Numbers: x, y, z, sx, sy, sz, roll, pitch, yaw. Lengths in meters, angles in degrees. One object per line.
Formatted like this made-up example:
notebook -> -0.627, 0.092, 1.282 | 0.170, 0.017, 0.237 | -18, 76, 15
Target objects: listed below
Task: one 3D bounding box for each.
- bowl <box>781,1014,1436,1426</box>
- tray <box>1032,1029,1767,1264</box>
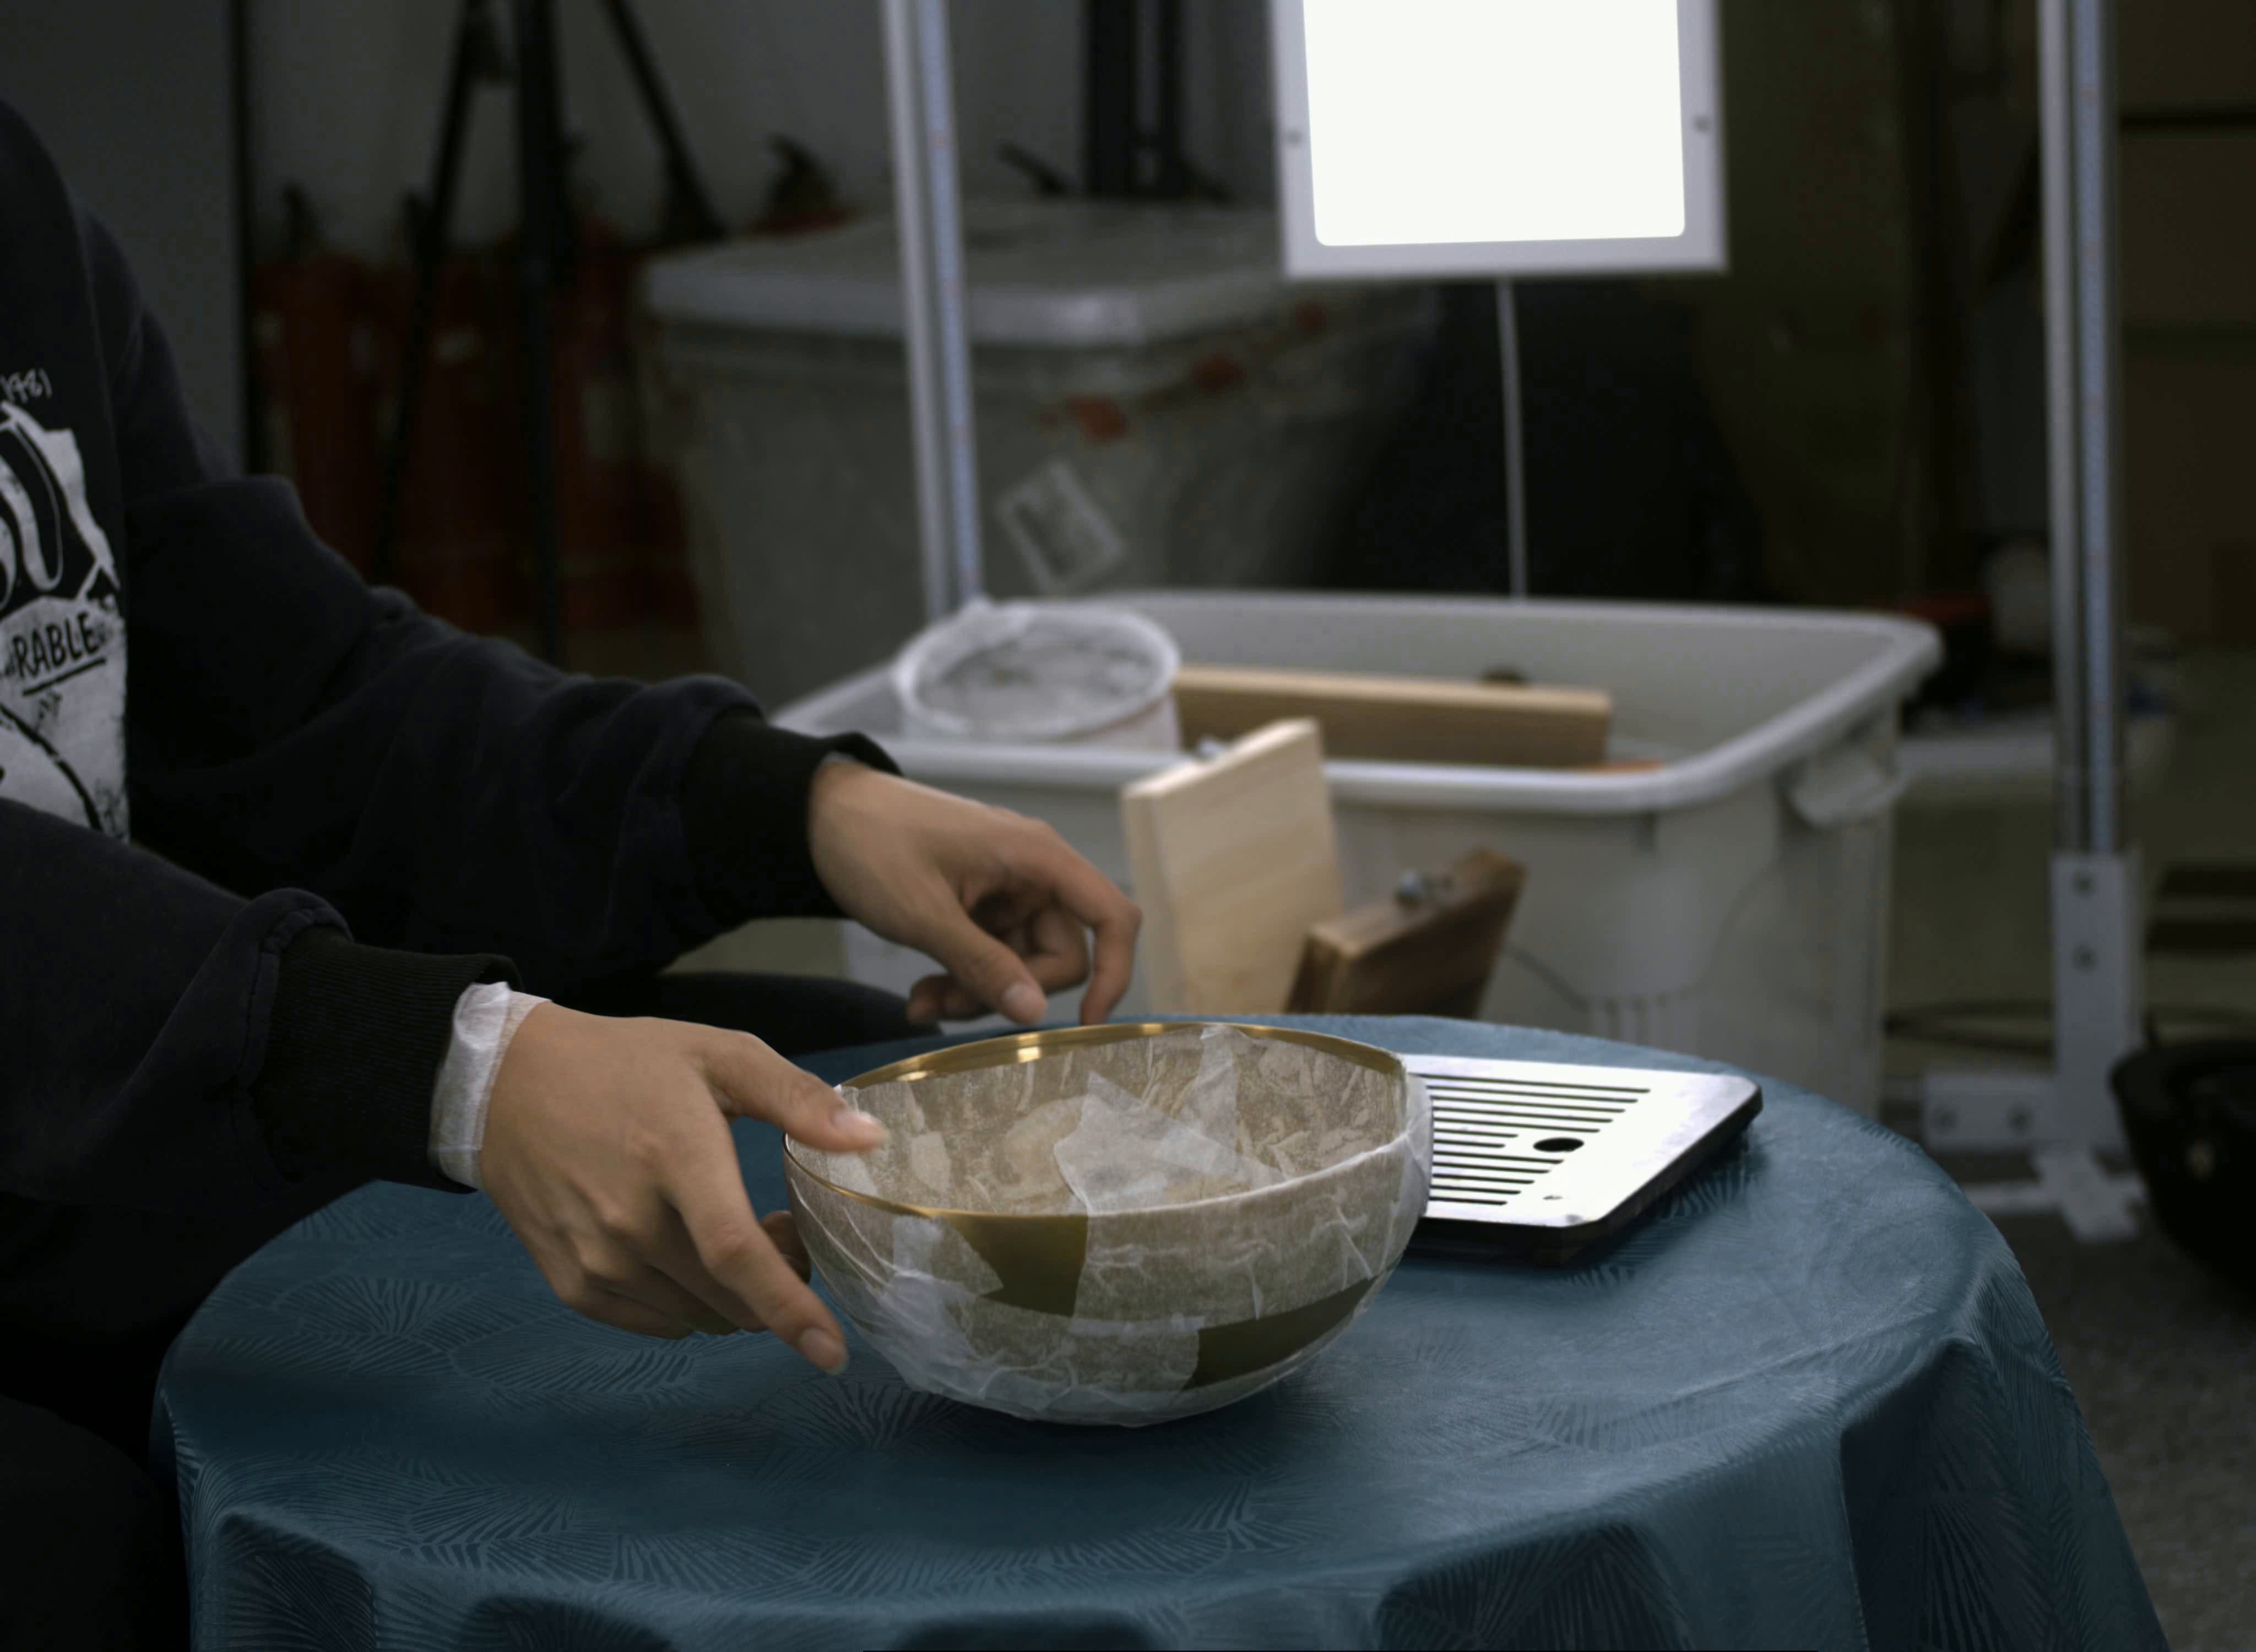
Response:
bowl -> -0.005, 0.128, 1.696 | 0.214, 0.095, 0.214 | -5, 14, 0
tray -> 0.054, 0.109, 1.912 | 0.311, 0.019, 0.166 | 2, 16, 29
